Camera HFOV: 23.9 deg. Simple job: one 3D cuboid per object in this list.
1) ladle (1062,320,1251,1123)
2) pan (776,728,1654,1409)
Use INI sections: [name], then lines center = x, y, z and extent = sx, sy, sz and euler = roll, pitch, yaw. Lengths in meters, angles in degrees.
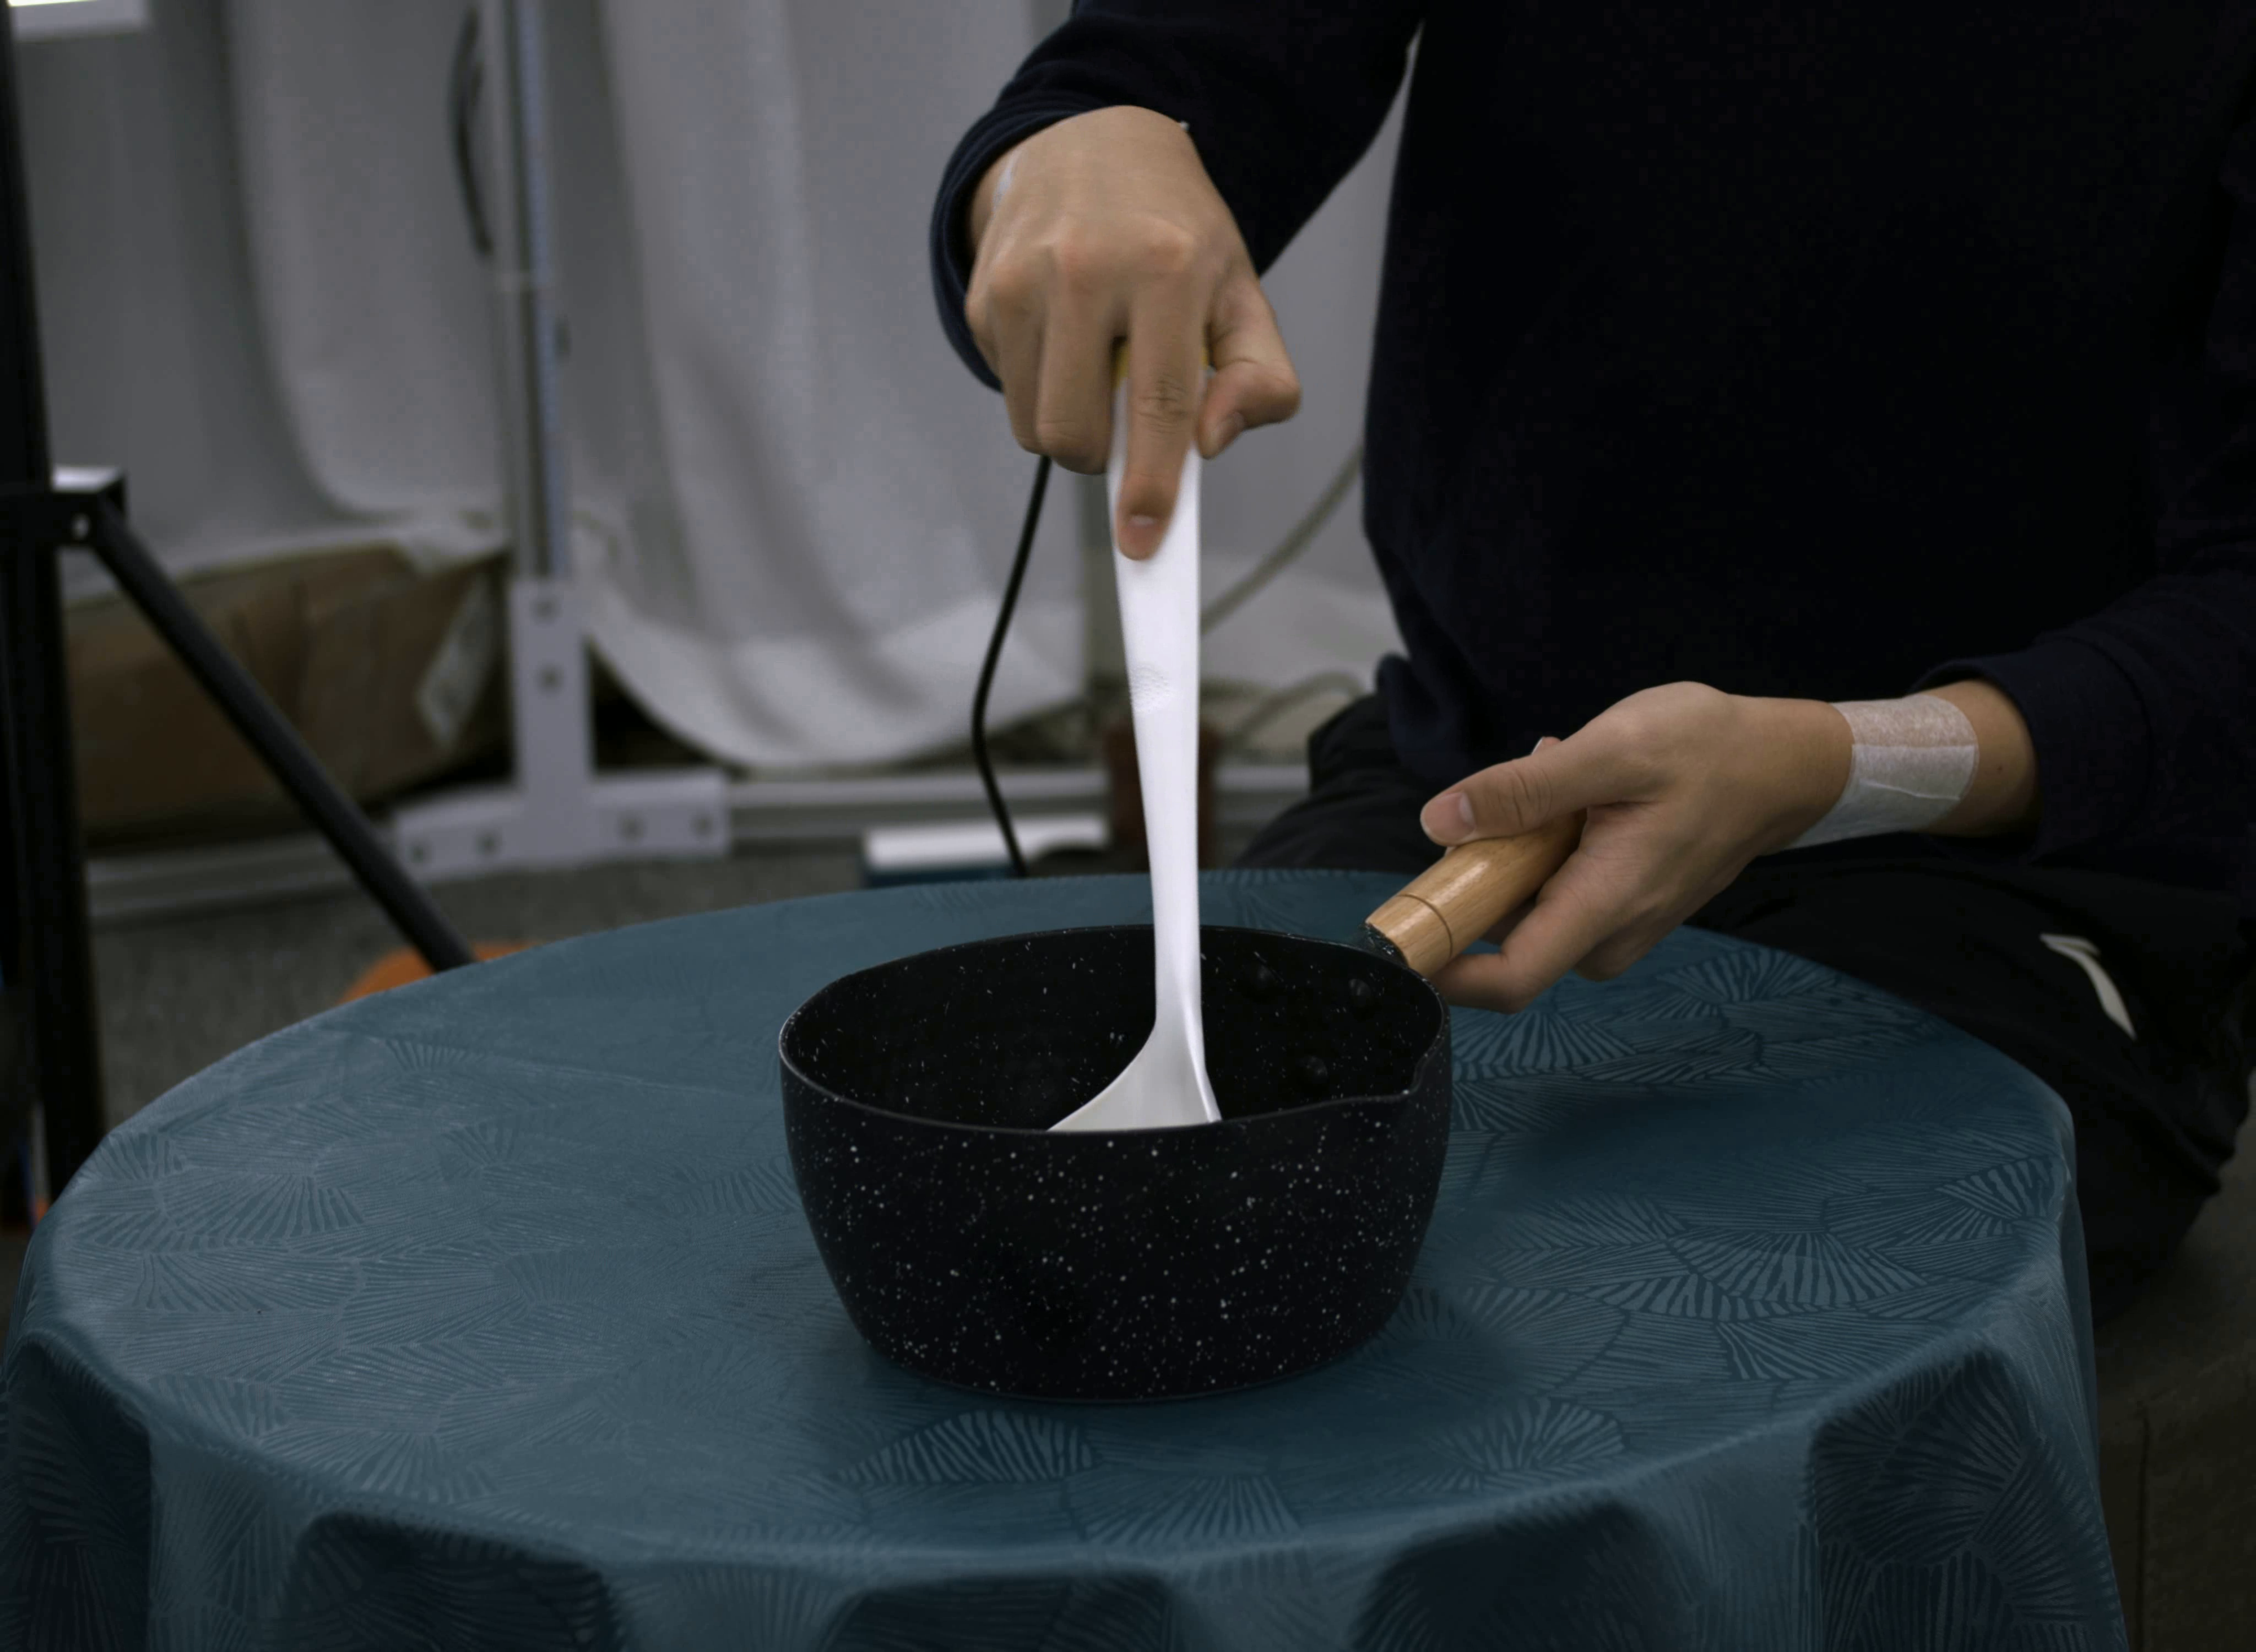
[ladle]
center = -0.005, -0.008, 1.518
extent = 0.068, 0.295, 0.092
euler = 15, -19, -31
[pan]
center = 0.046, 0.064, 1.510
extent = 0.212, 0.108, 0.335
euler = 9, 21, 38
